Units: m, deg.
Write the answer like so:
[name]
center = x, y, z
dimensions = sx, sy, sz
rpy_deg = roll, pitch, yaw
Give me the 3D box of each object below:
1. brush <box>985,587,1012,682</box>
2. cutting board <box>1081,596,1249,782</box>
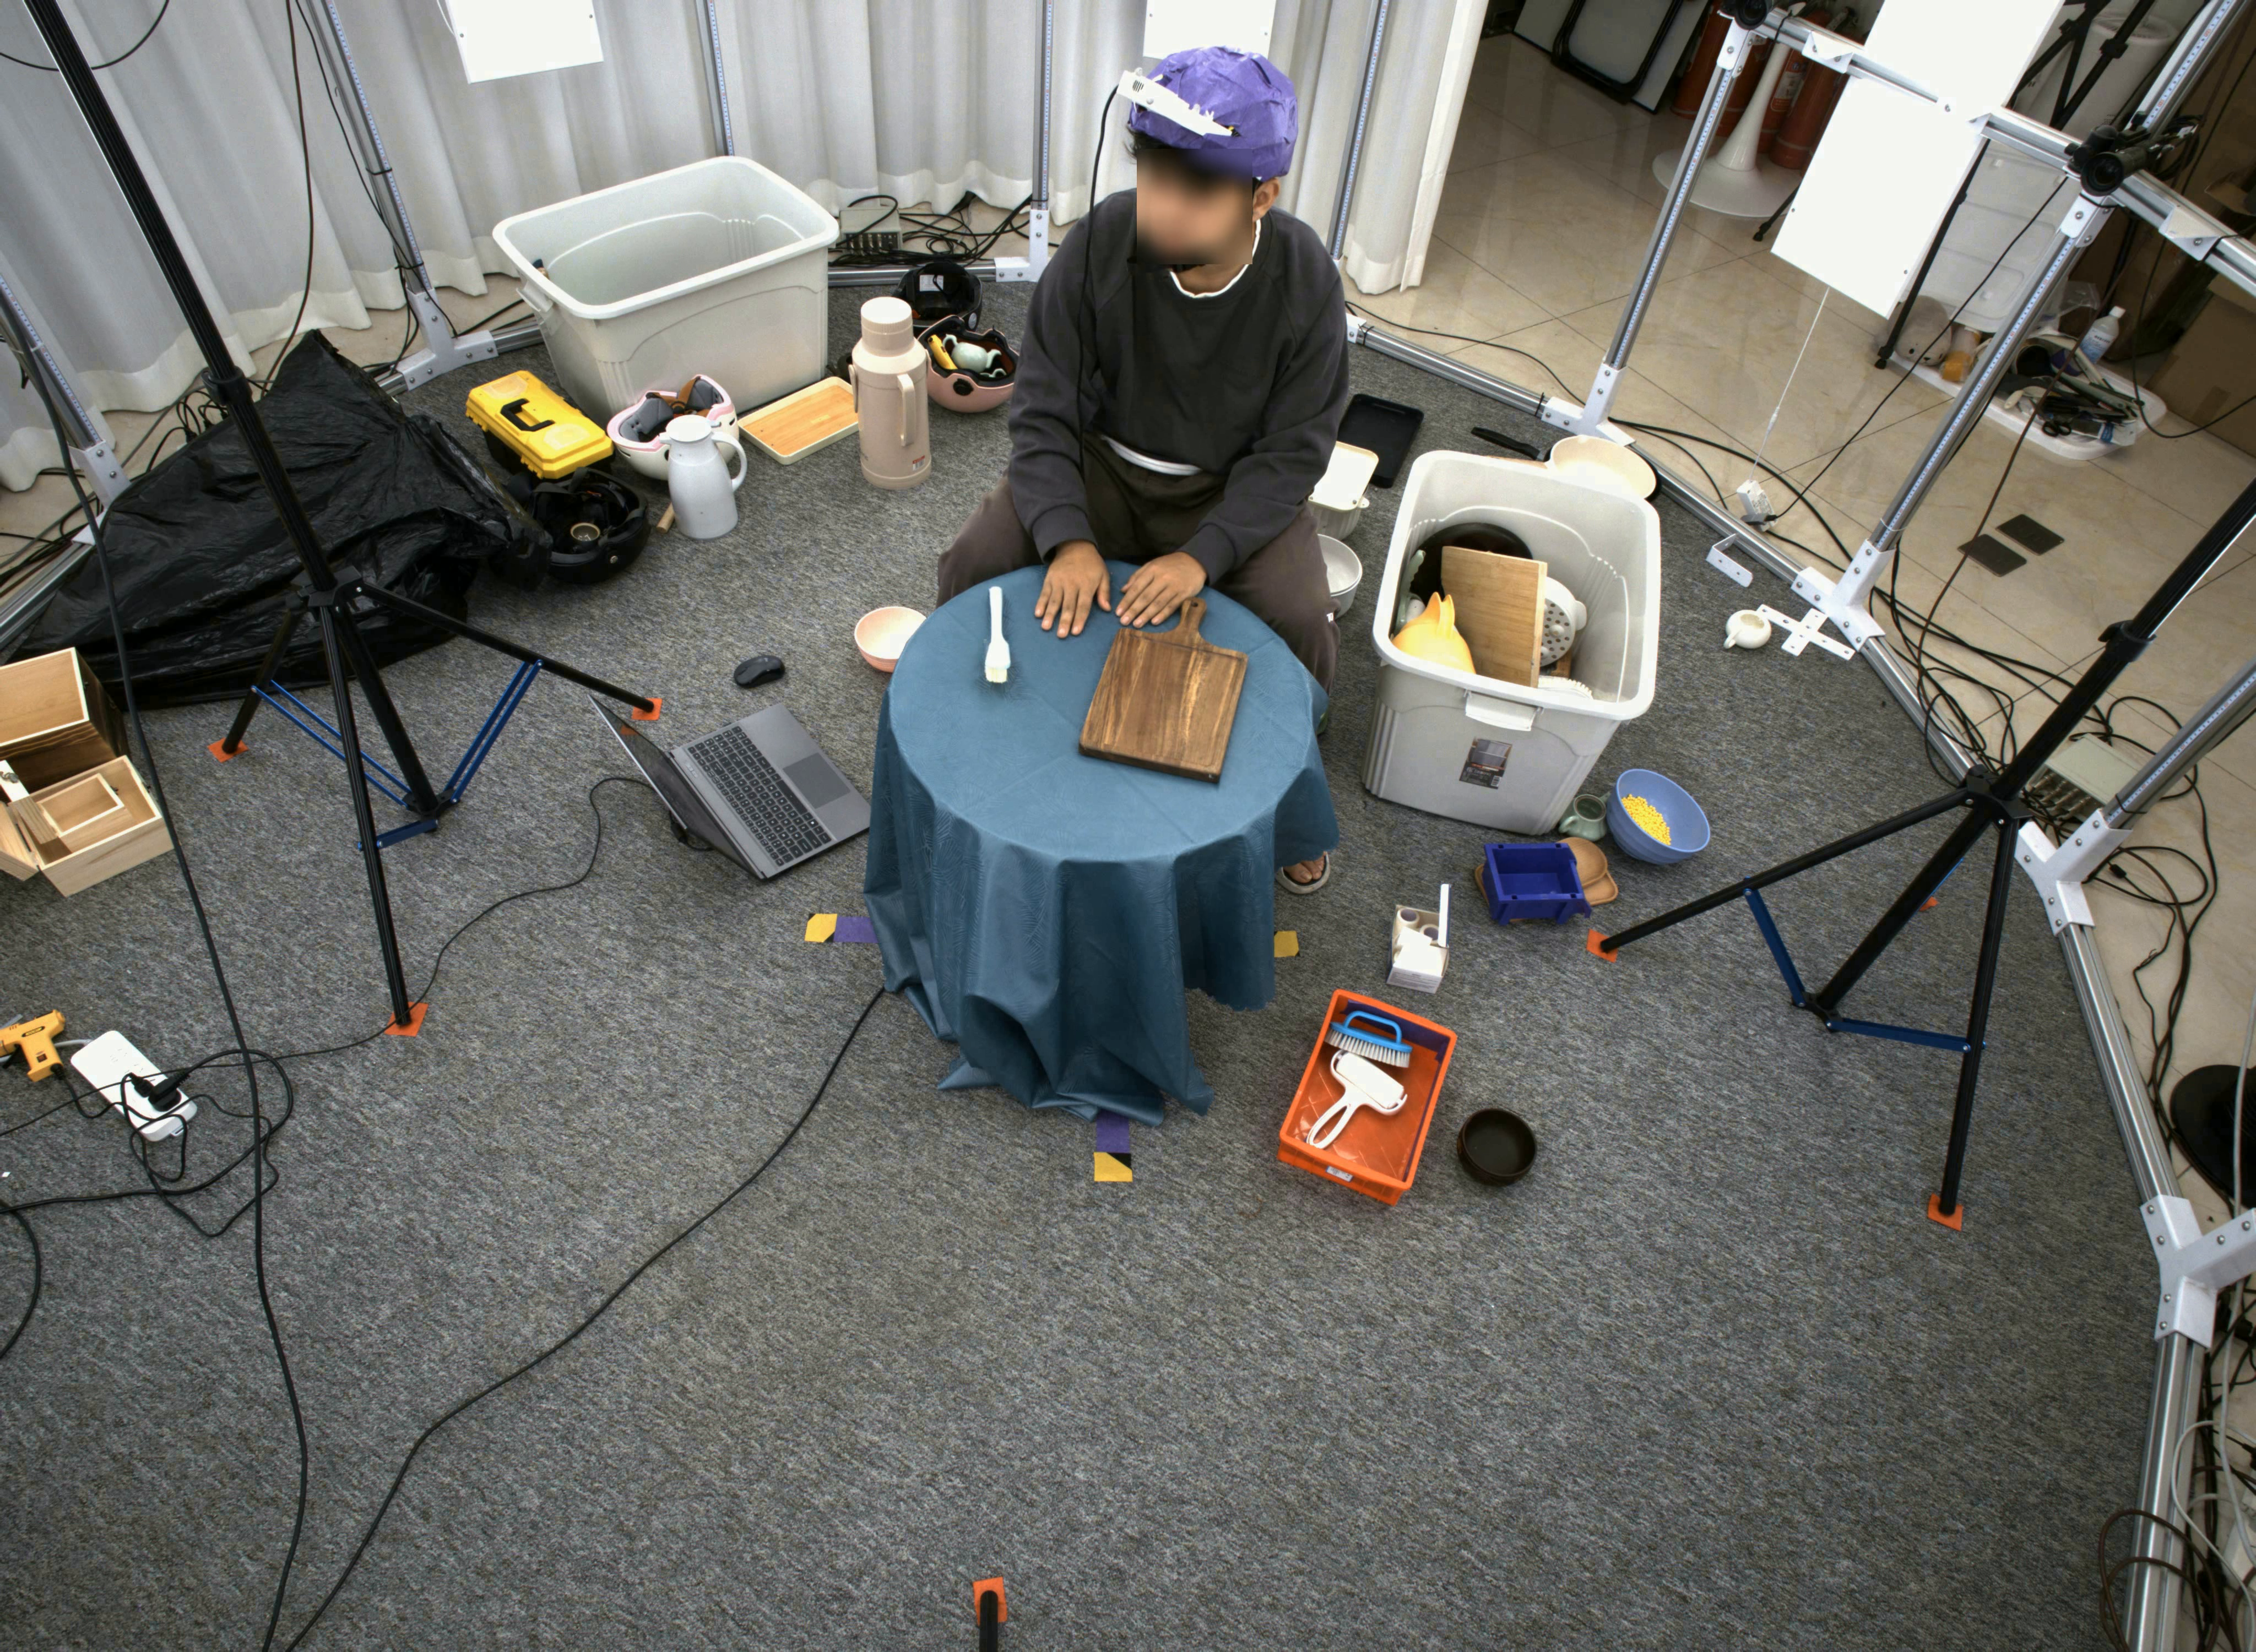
[brush]
center = -0.193, -0.282, 1.875
dimensions = 0.037, 0.048, 0.234
rpy_deg = 2, 40, -11
[cutting board]
center = 0.067, -0.213, 1.842
dimensions = 0.201, 0.022, 0.360
rpy_deg = 12, 49, 6
